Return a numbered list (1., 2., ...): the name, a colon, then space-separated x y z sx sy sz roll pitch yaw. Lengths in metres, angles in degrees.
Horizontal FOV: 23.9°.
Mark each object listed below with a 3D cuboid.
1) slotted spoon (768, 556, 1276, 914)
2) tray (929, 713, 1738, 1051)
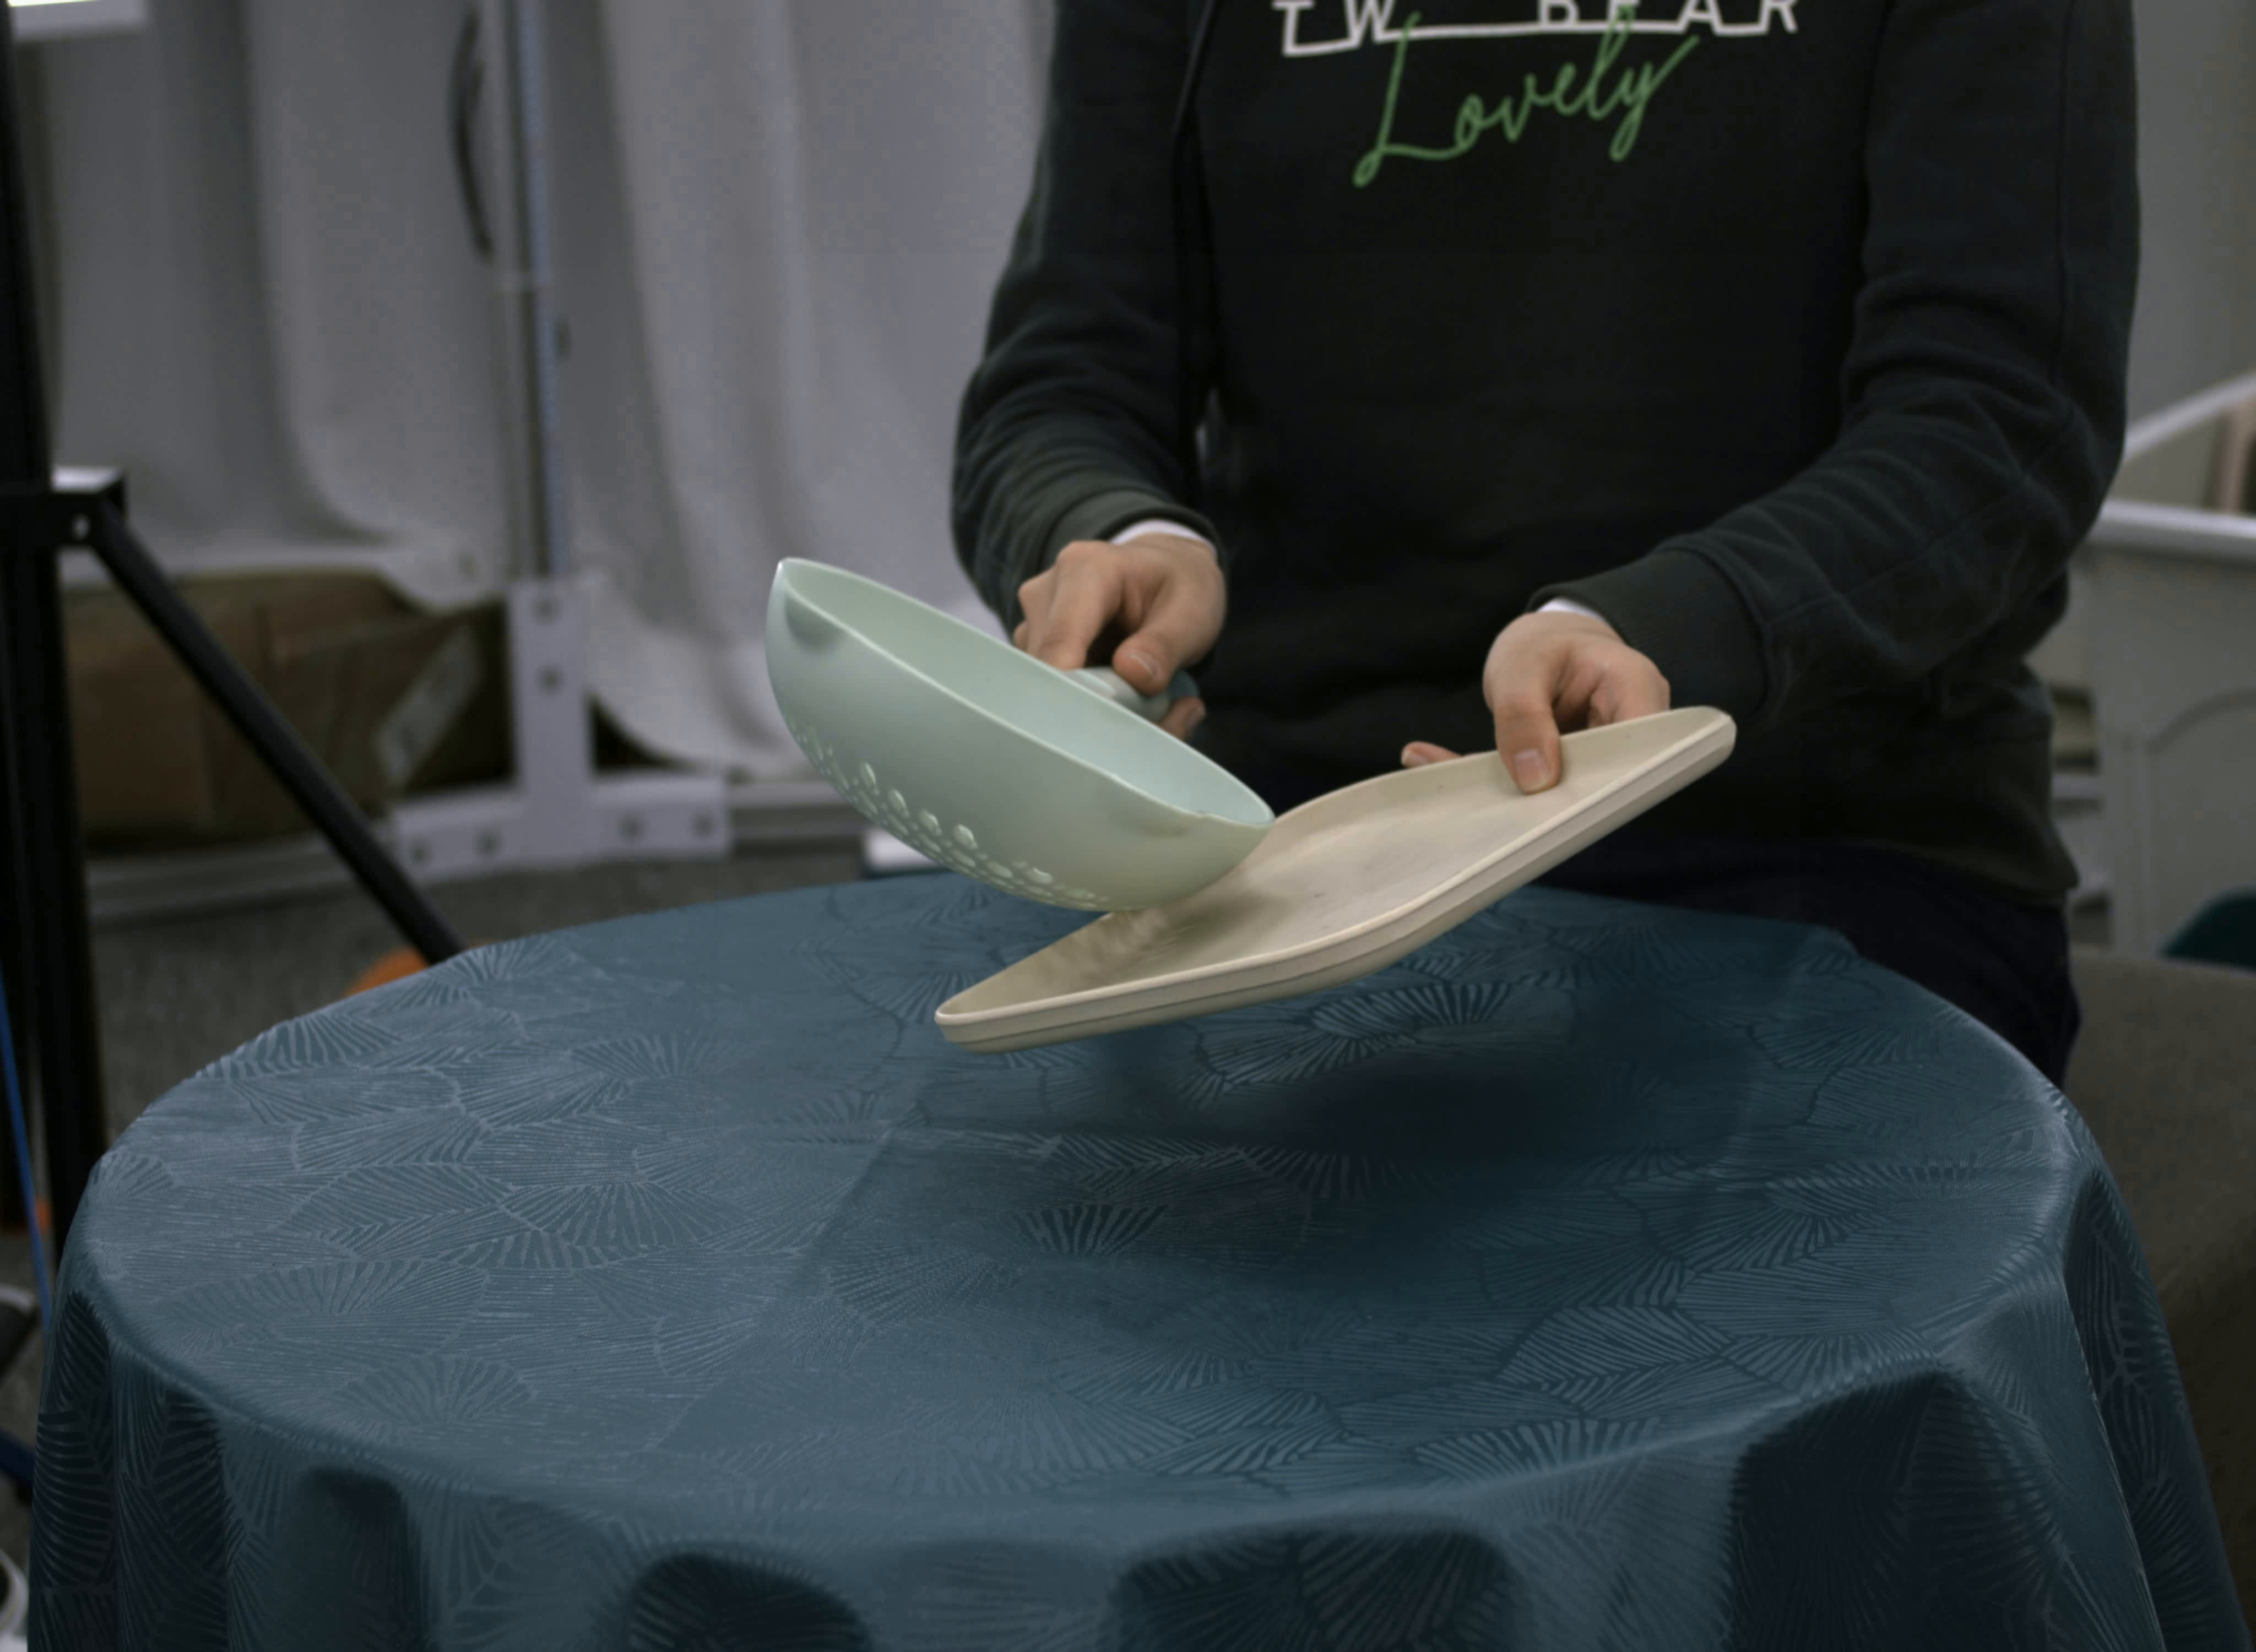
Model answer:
1. slotted spoon: -0.019 -0.033 1.694 0.170 0.076 0.355 31 14 8
2. tray: 0.064 0.017 1.558 0.174 0.017 0.235 -12 9 40
